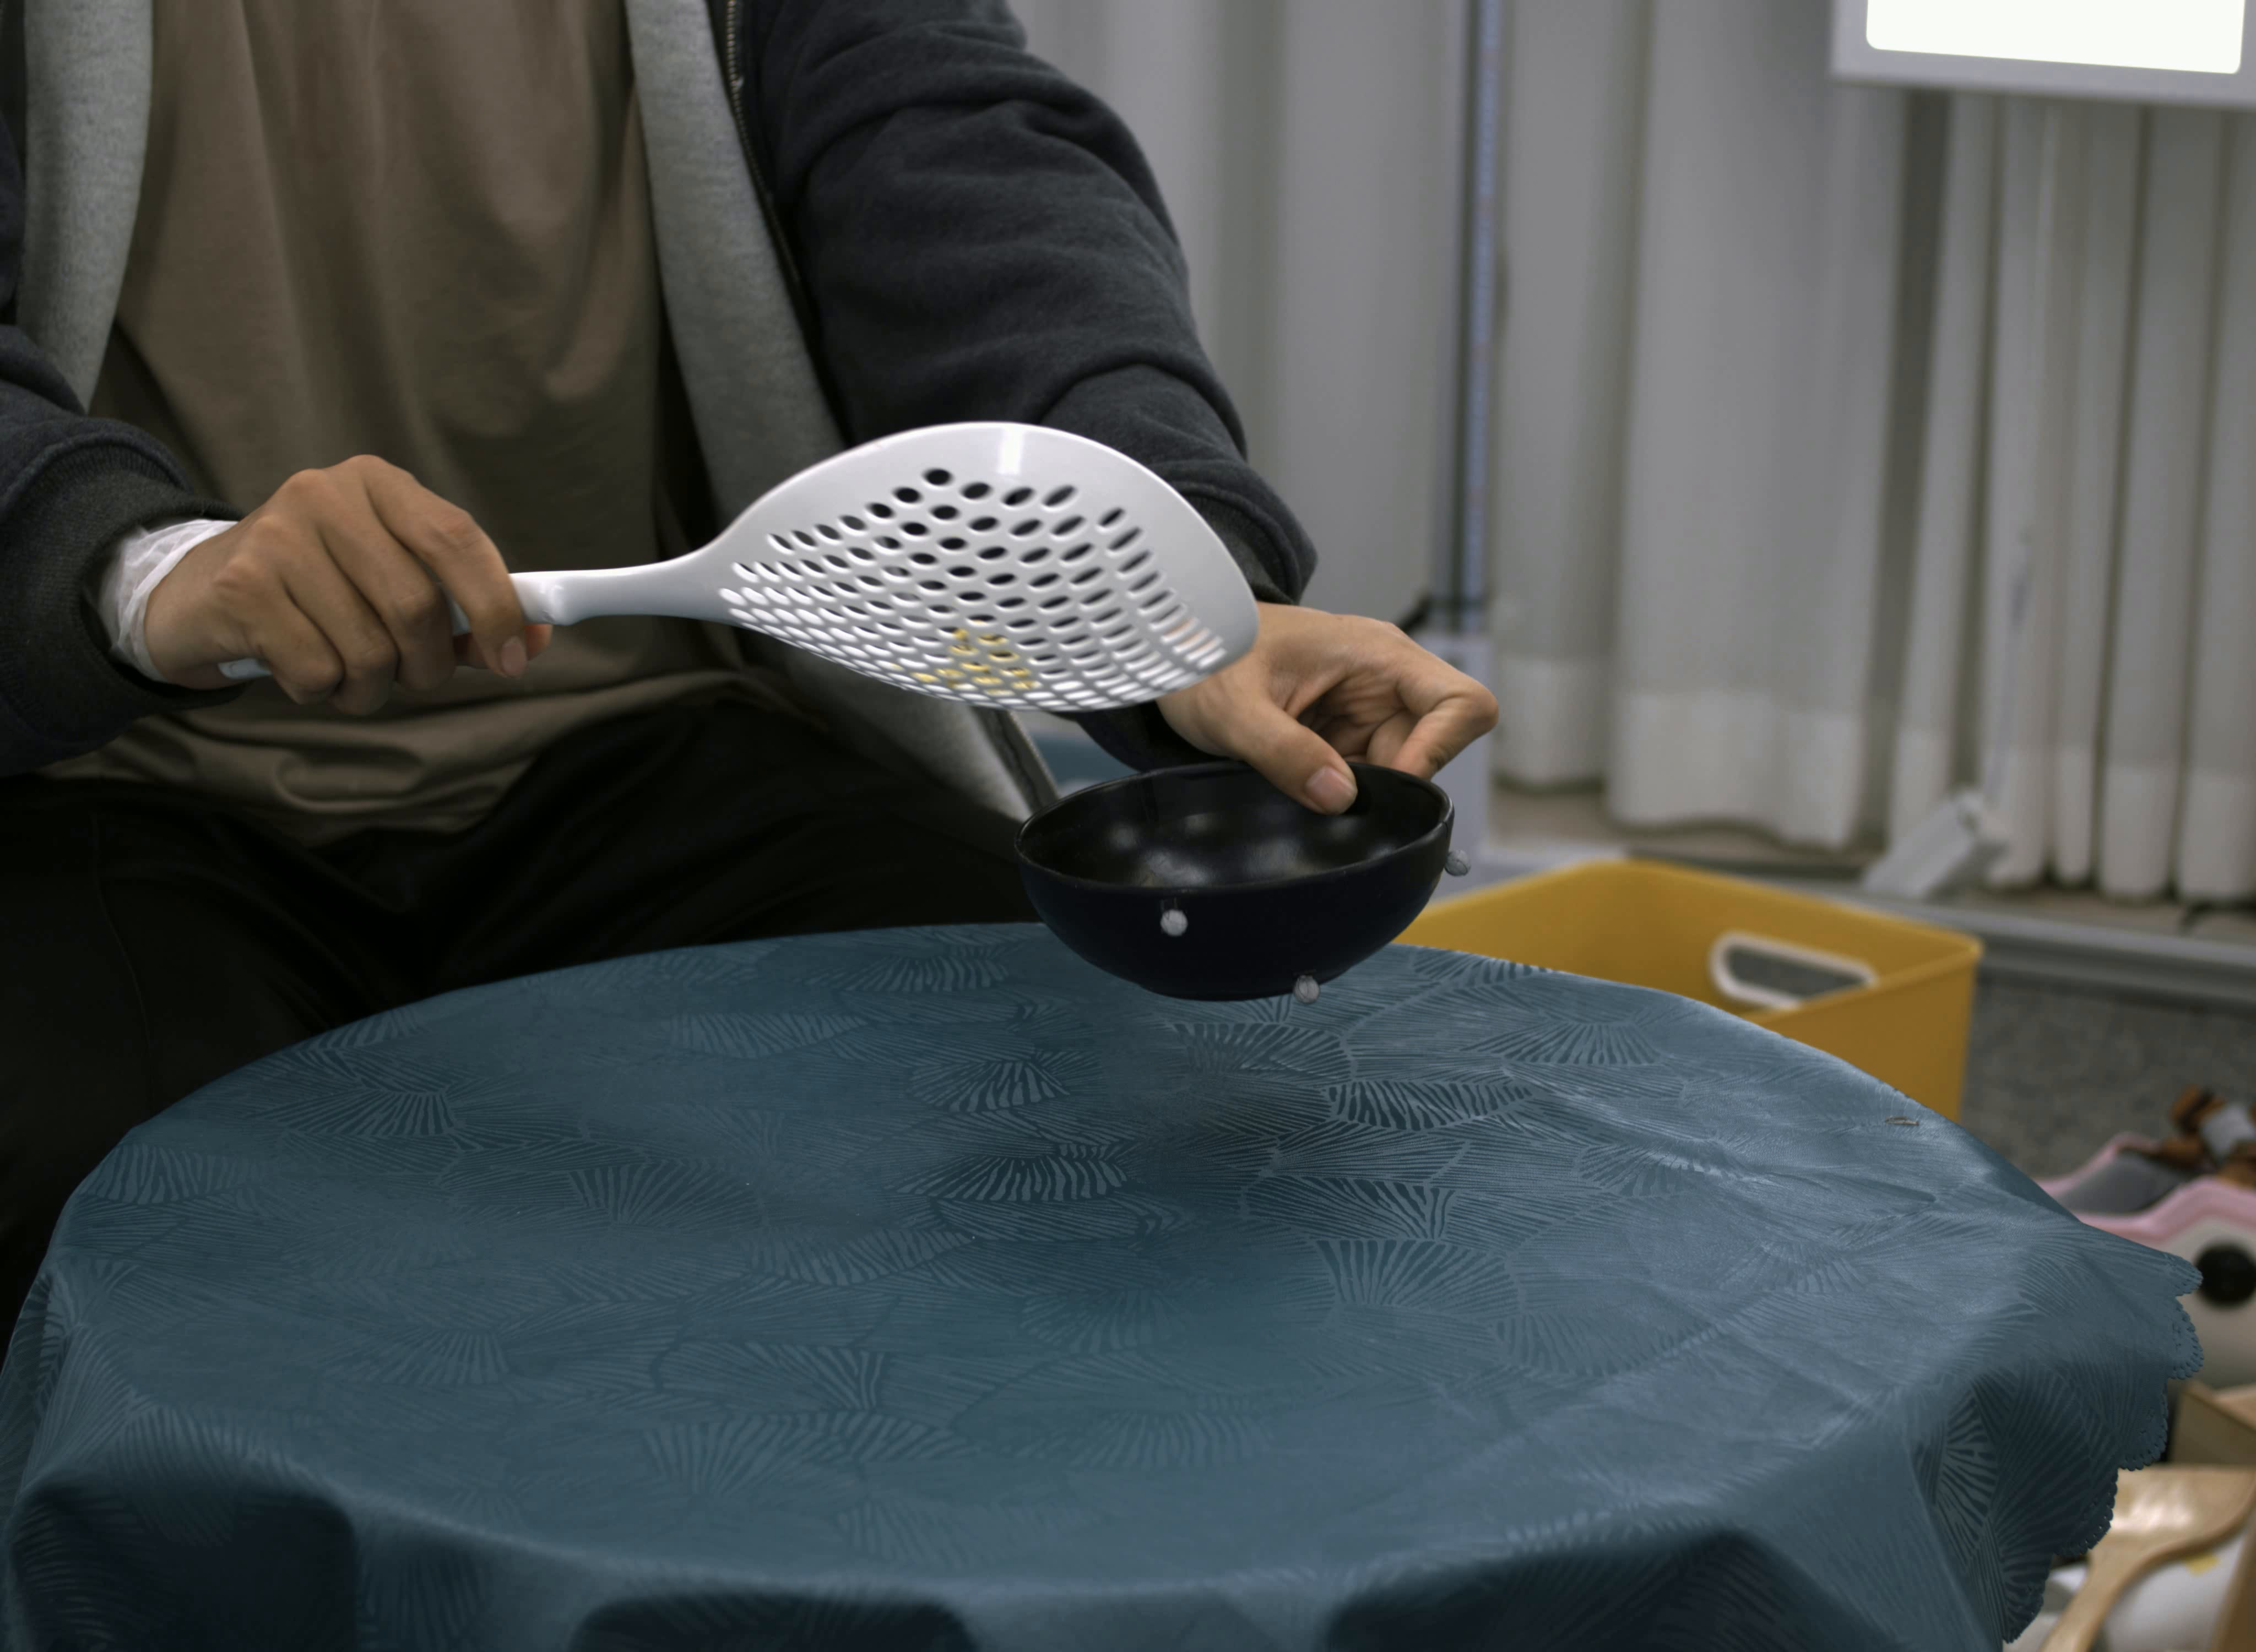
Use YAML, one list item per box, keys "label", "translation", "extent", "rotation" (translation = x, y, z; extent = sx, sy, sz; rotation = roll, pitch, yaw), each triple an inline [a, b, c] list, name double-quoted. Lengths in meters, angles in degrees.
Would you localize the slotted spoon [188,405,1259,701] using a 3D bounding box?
- label: "slotted spoon"
  translation: [-0.129, -0.065, 1.577]
  extent: [0.344, 0.050, 0.139]
  rotation: [0, -30, 27]
